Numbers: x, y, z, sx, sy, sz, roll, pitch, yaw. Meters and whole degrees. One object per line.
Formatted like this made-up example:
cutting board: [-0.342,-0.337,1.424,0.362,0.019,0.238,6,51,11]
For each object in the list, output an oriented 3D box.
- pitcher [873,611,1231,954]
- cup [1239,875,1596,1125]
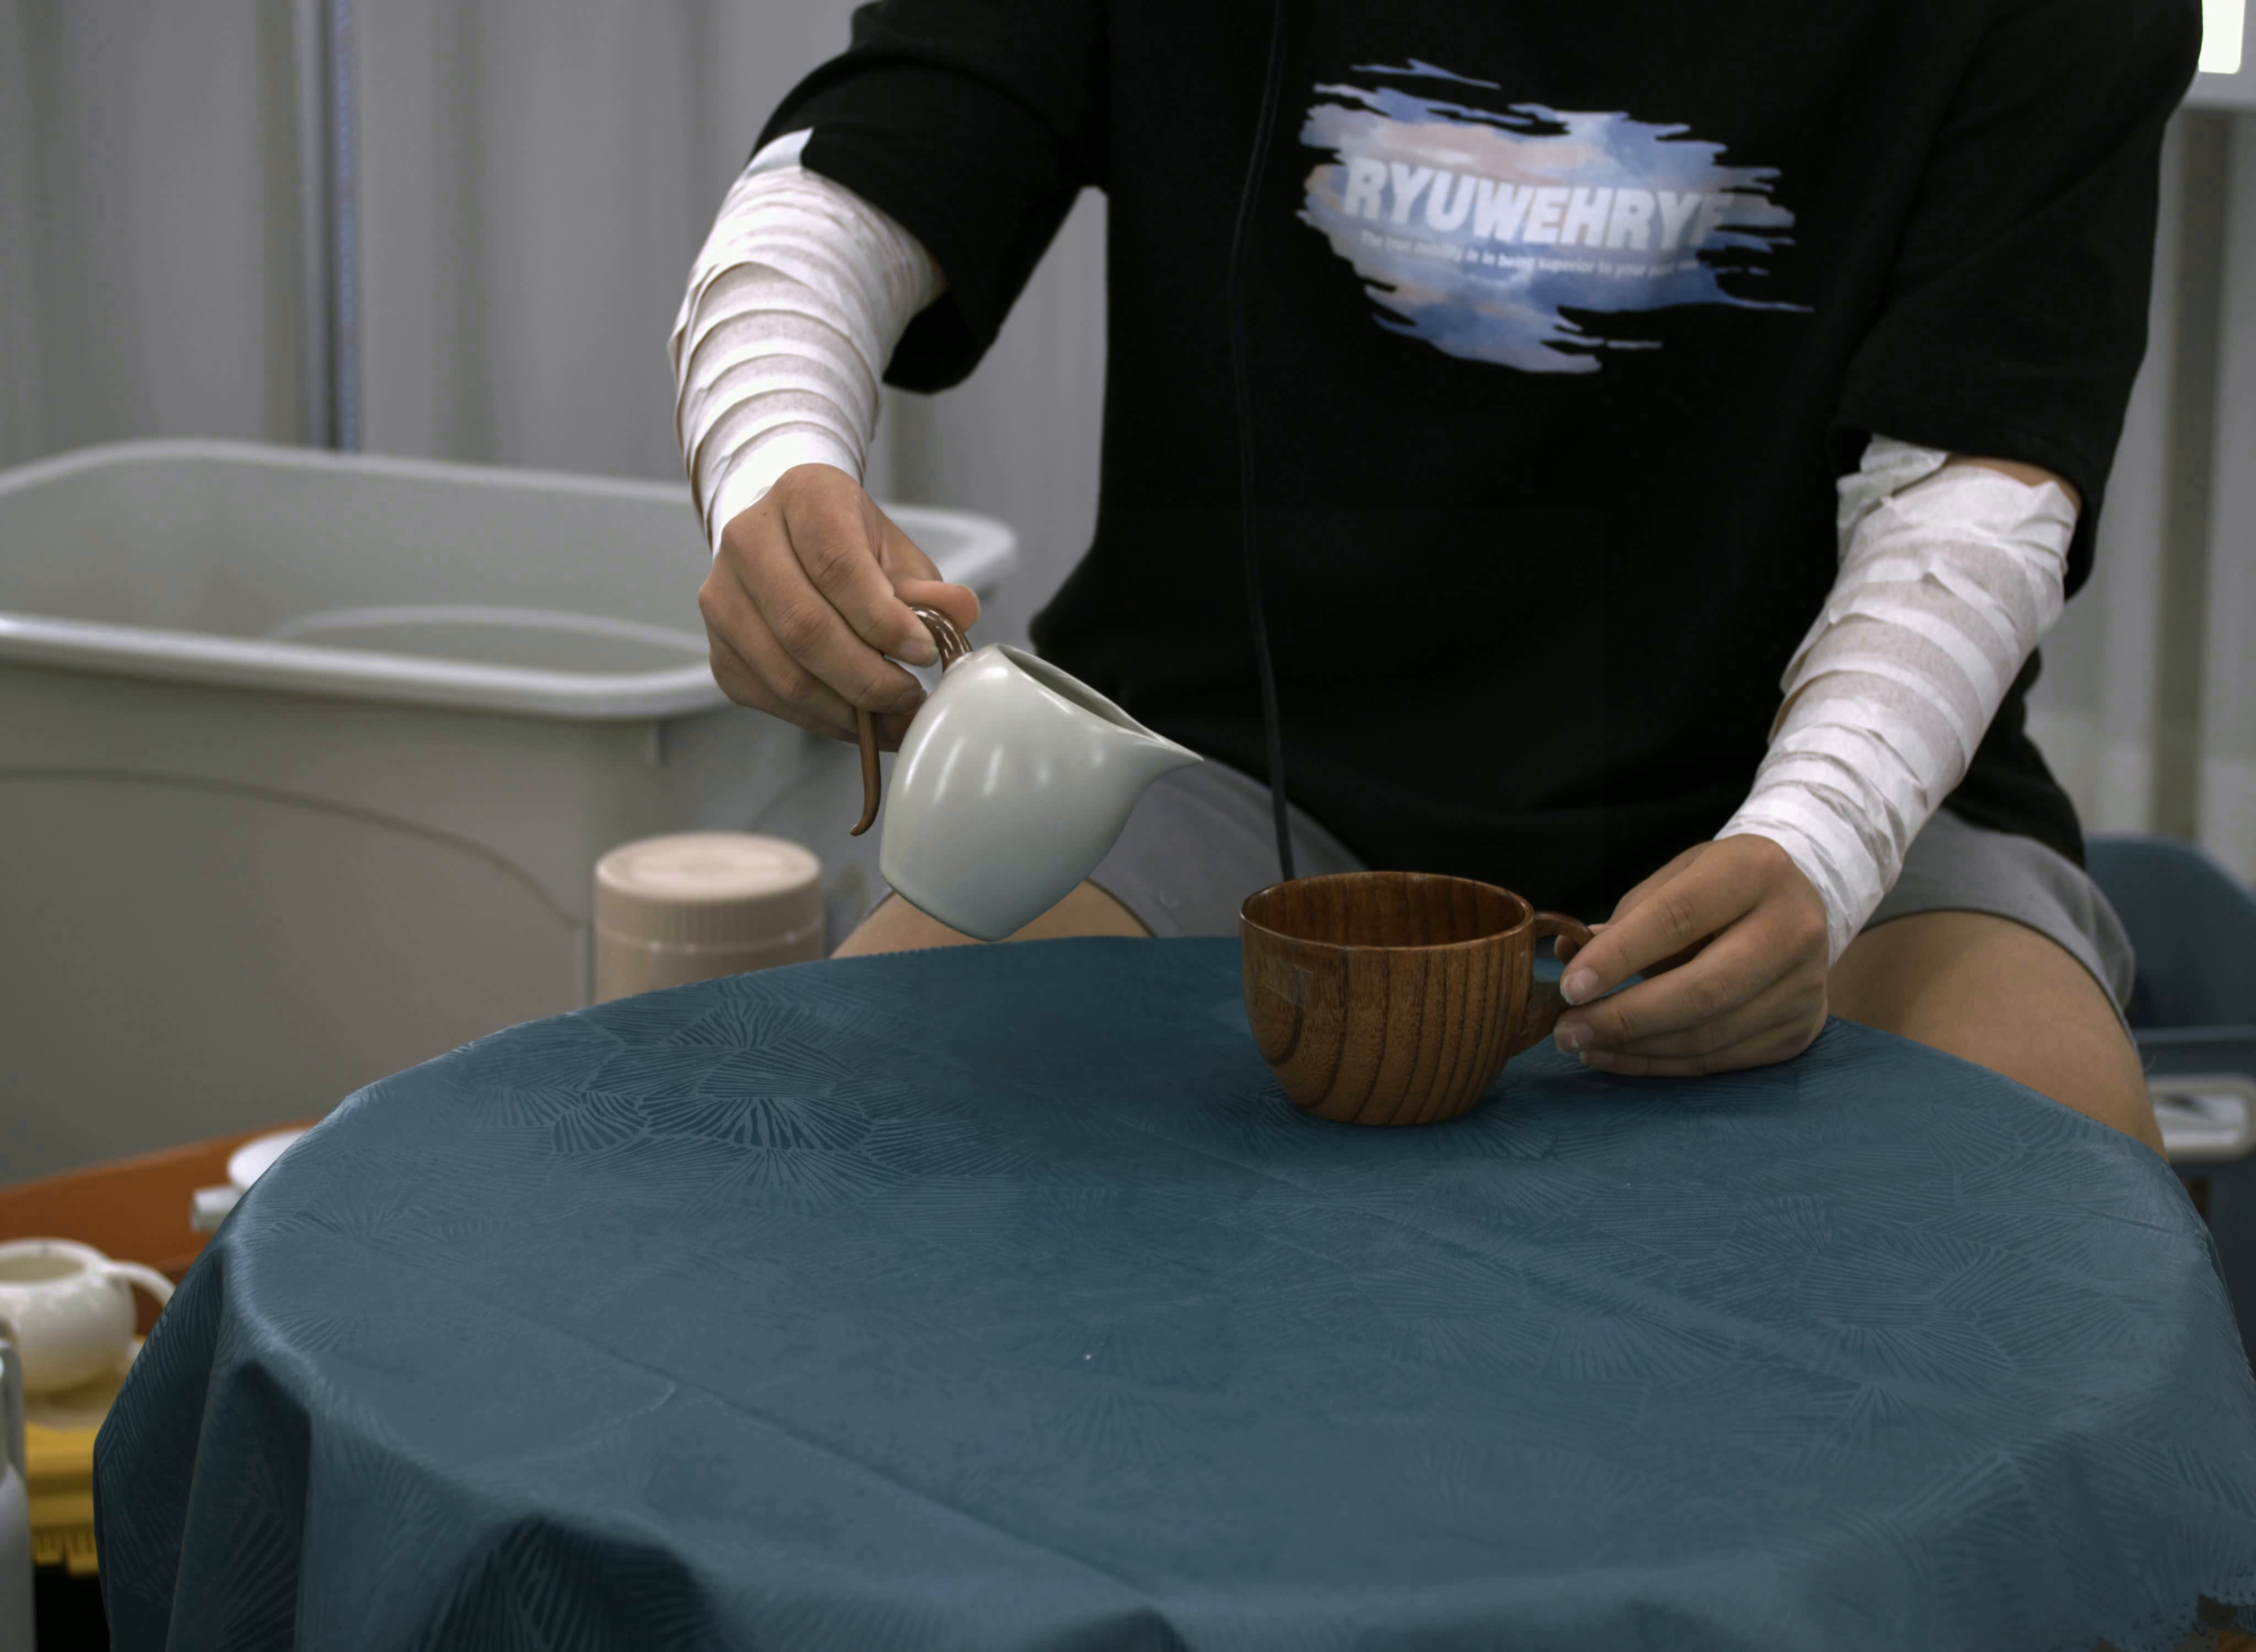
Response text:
pitcher: [-0.037,-0.011,1.682,0.118,0.088,0.076,38,8,19]
cup: [0.095,0.057,1.706,0.119,0.068,0.095,-1,12,-13]
